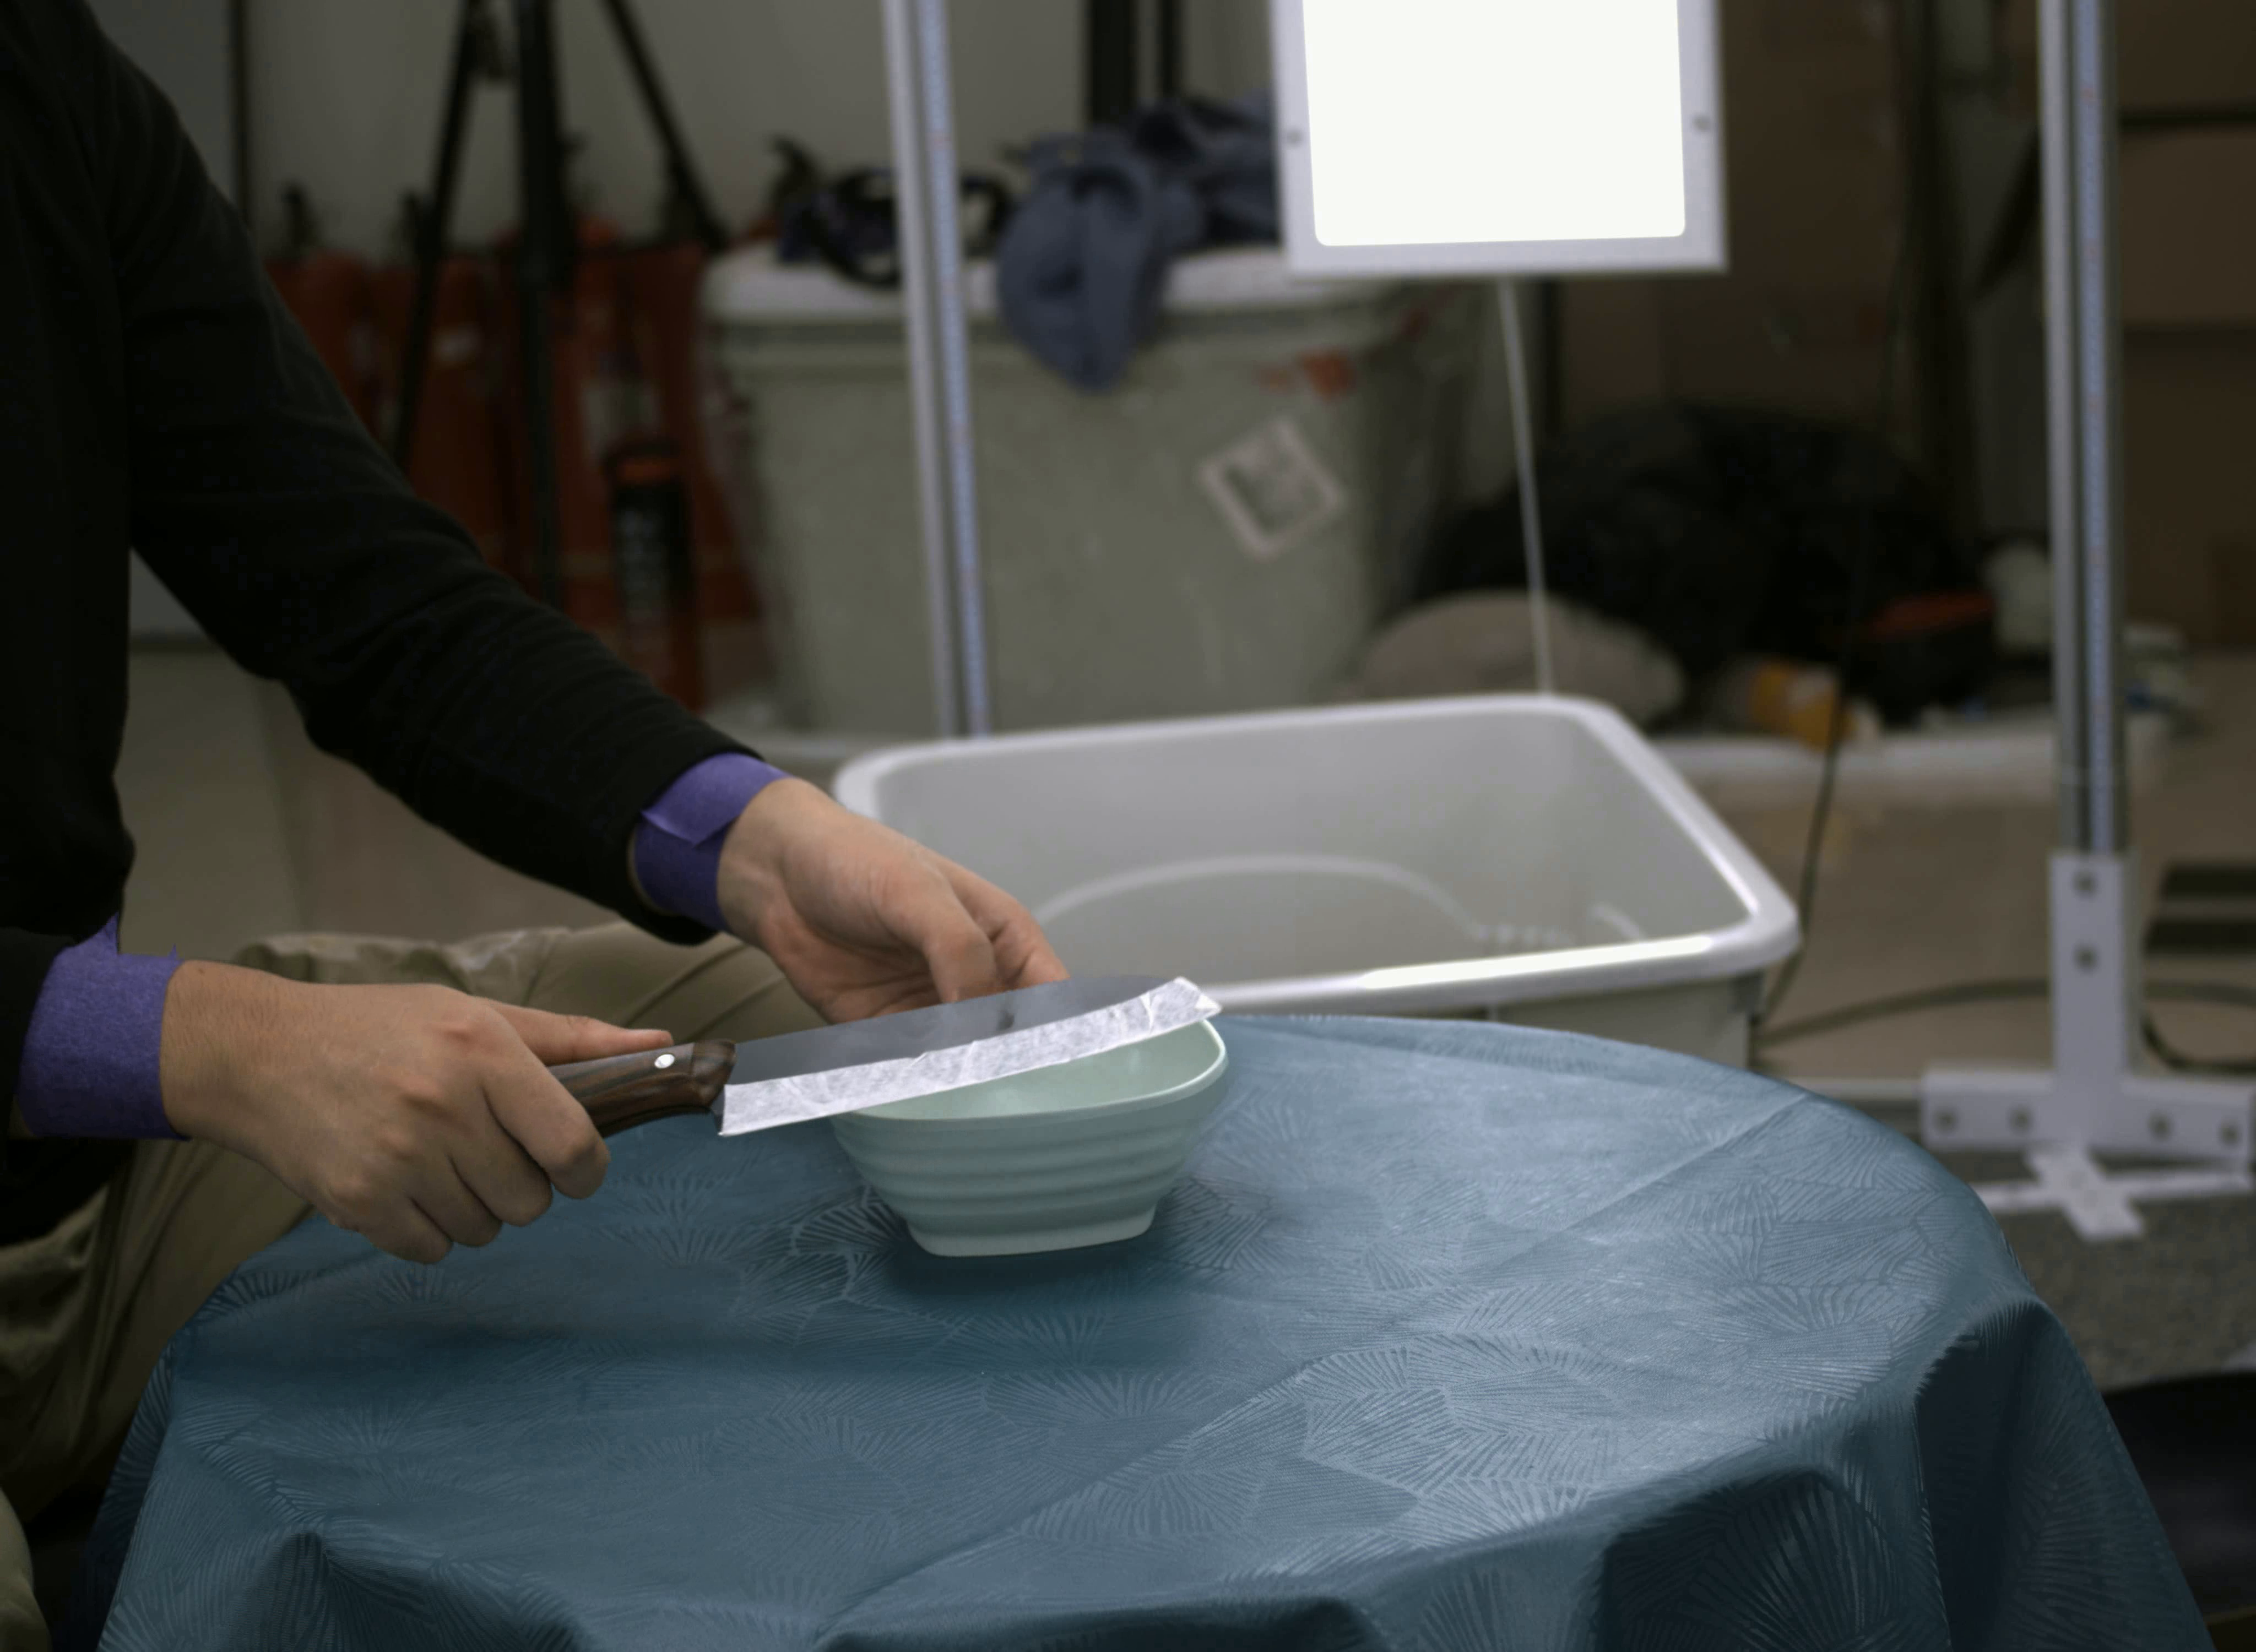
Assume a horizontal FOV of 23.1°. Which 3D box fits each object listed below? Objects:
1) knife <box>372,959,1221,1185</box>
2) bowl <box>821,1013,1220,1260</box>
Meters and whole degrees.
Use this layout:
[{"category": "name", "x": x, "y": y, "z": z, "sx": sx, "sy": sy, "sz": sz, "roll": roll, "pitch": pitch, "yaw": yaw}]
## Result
[{"category": "knife", "x": -0.109, "y": 0.080, "z": 1.795, "sx": 0.291, "sy": 0.020, "sz": 0.050, "roll": -11, "pitch": 40, "yaw": 12}, {"category": "bowl", "x": -0.037, "y": 0.107, "z": 1.877, "sx": 0.151, "sy": 0.059, "sz": 0.151, "roll": -3, "pitch": 14, "yaw": -1}]
